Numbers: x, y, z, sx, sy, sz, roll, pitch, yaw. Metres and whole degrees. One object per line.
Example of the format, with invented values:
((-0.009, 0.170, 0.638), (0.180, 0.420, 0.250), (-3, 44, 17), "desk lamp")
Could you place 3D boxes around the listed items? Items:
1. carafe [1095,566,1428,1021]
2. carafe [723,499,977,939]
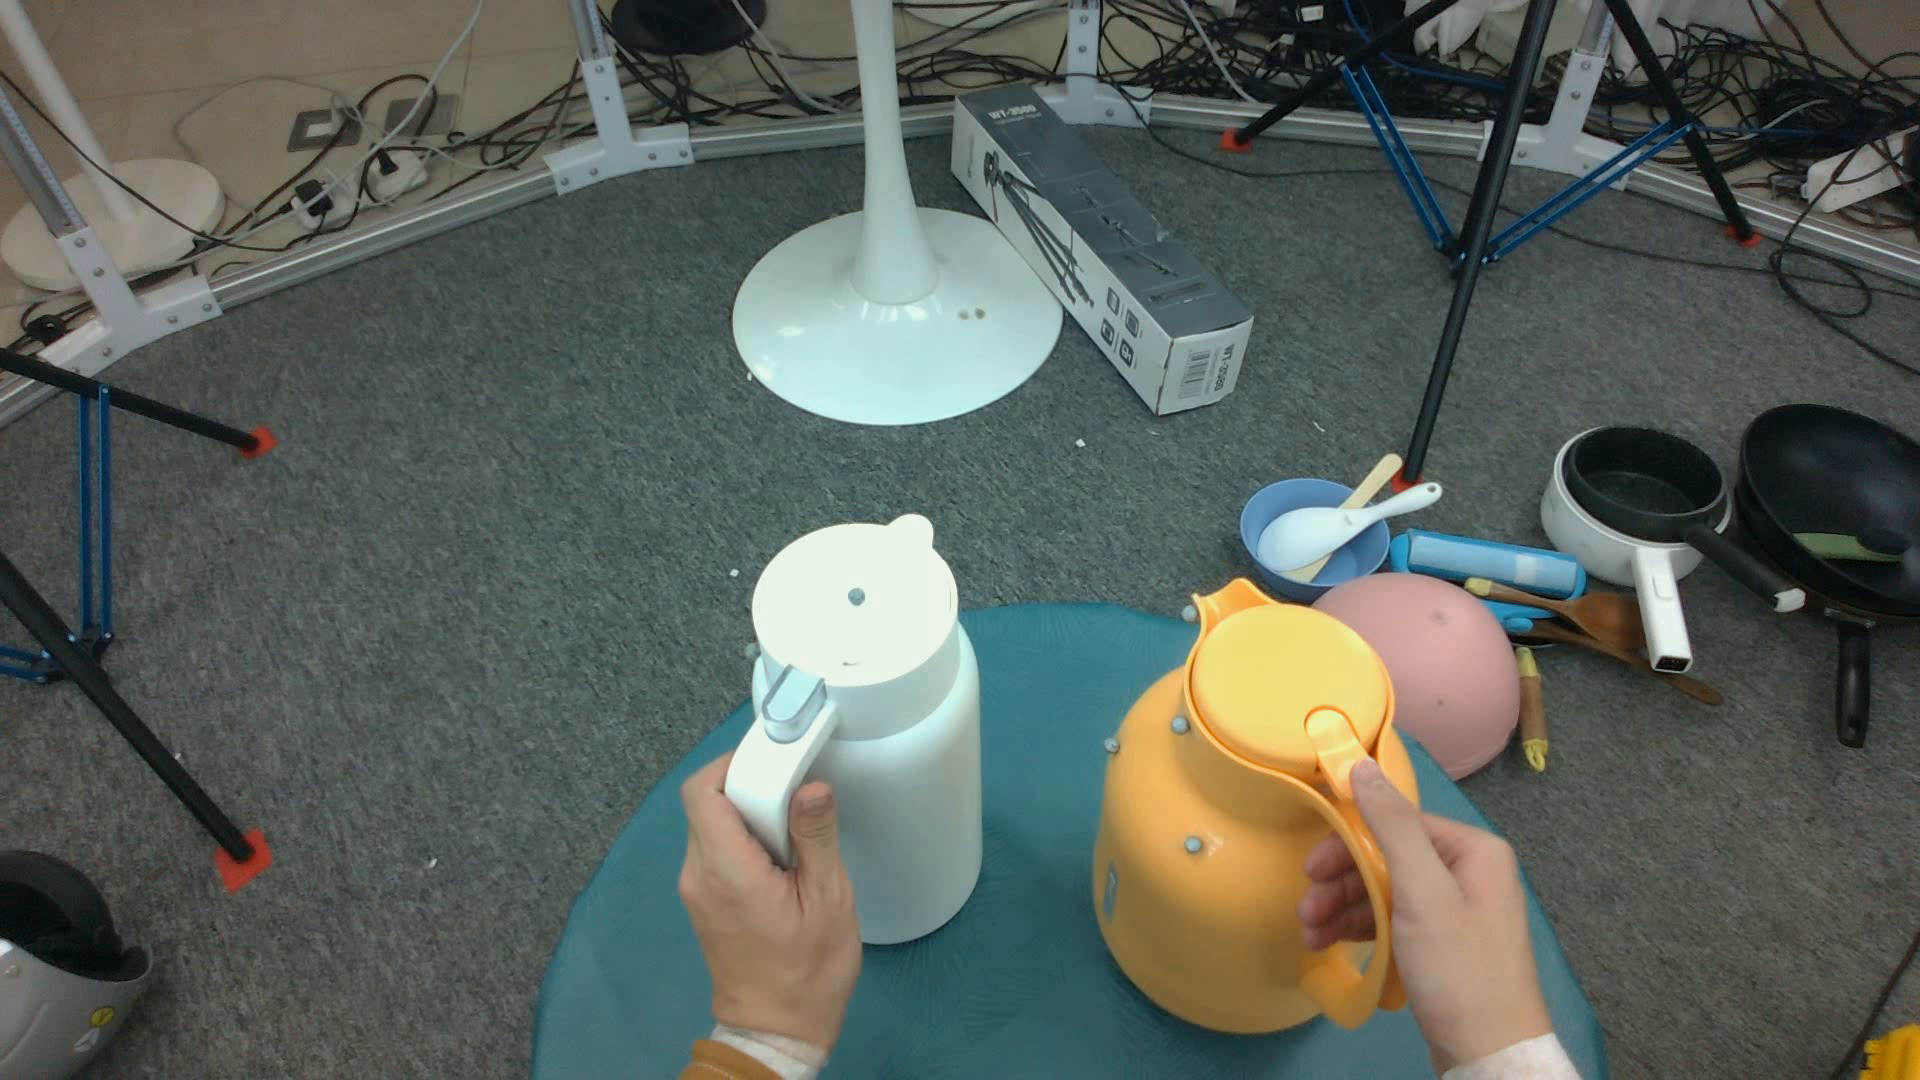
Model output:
((0.161, 0.151, 0.719), (0.163, 0.259, 0.203), (-18, 51, -10), "carafe")
((-0.056, 0.122, 0.743), (0.124, 0.267, 0.173), (20, 53, 15), "carafe")
